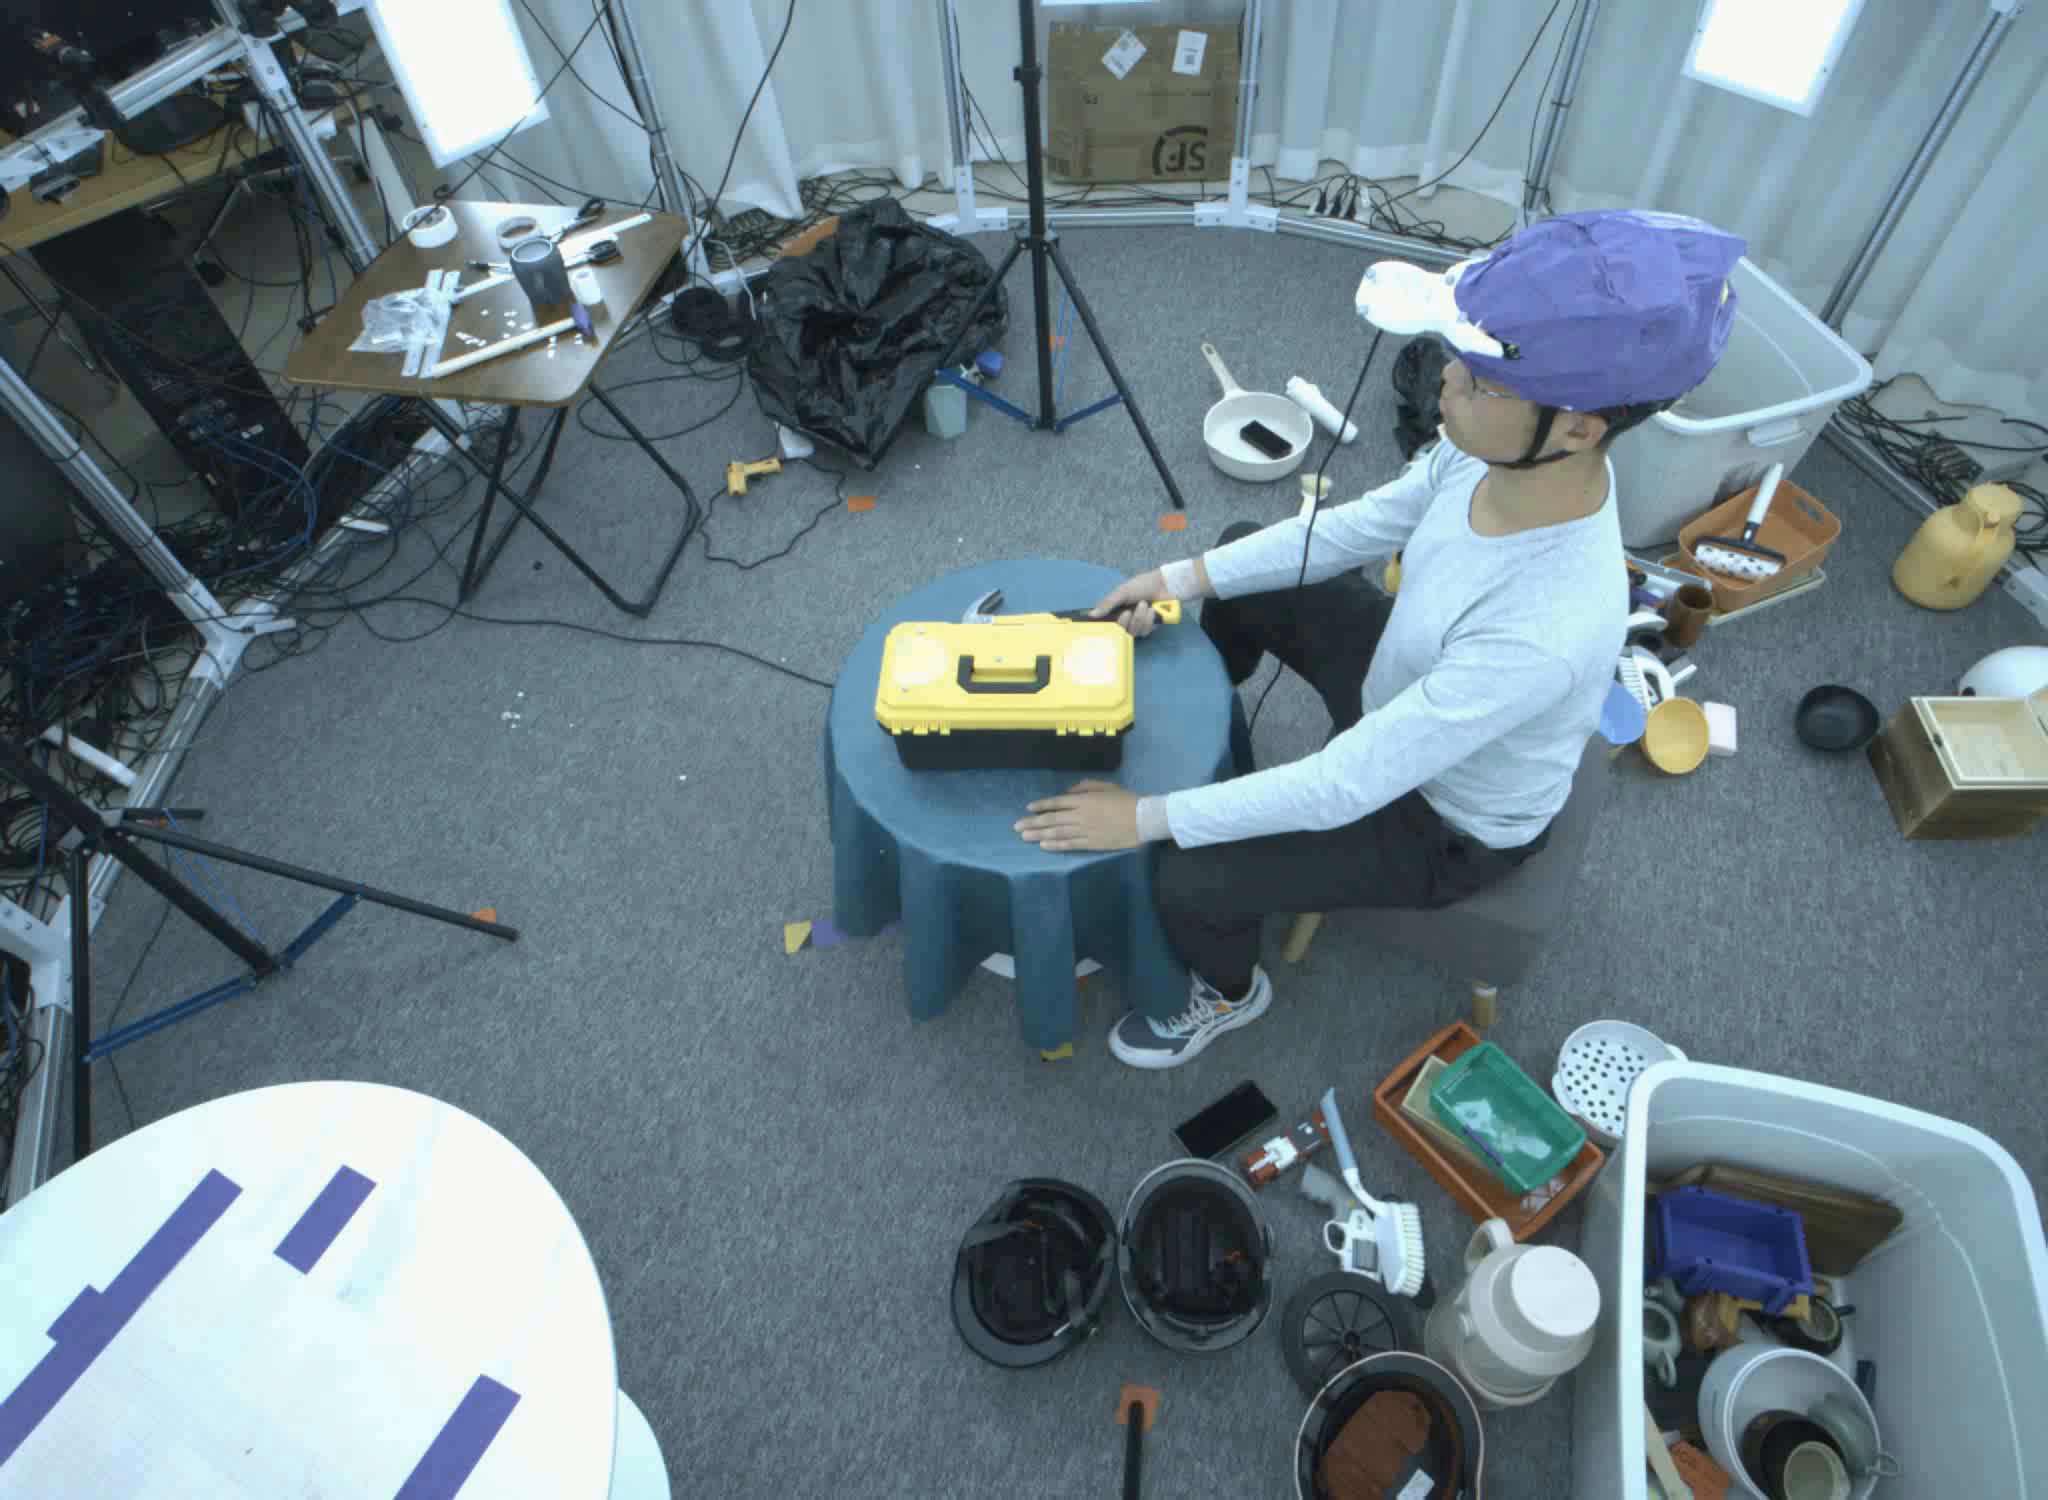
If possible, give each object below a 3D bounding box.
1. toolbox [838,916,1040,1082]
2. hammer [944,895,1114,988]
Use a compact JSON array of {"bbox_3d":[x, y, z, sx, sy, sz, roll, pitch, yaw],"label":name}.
[{"bbox_3d":[-0.153,0.458,2.254,0.347,0.174,0.182,24,59,18],"label":"toolbox"},{"bbox_3d":[0.019,0.378,2.376,0.333,0.032,0.132,21,55,22],"label":"hammer"}]
